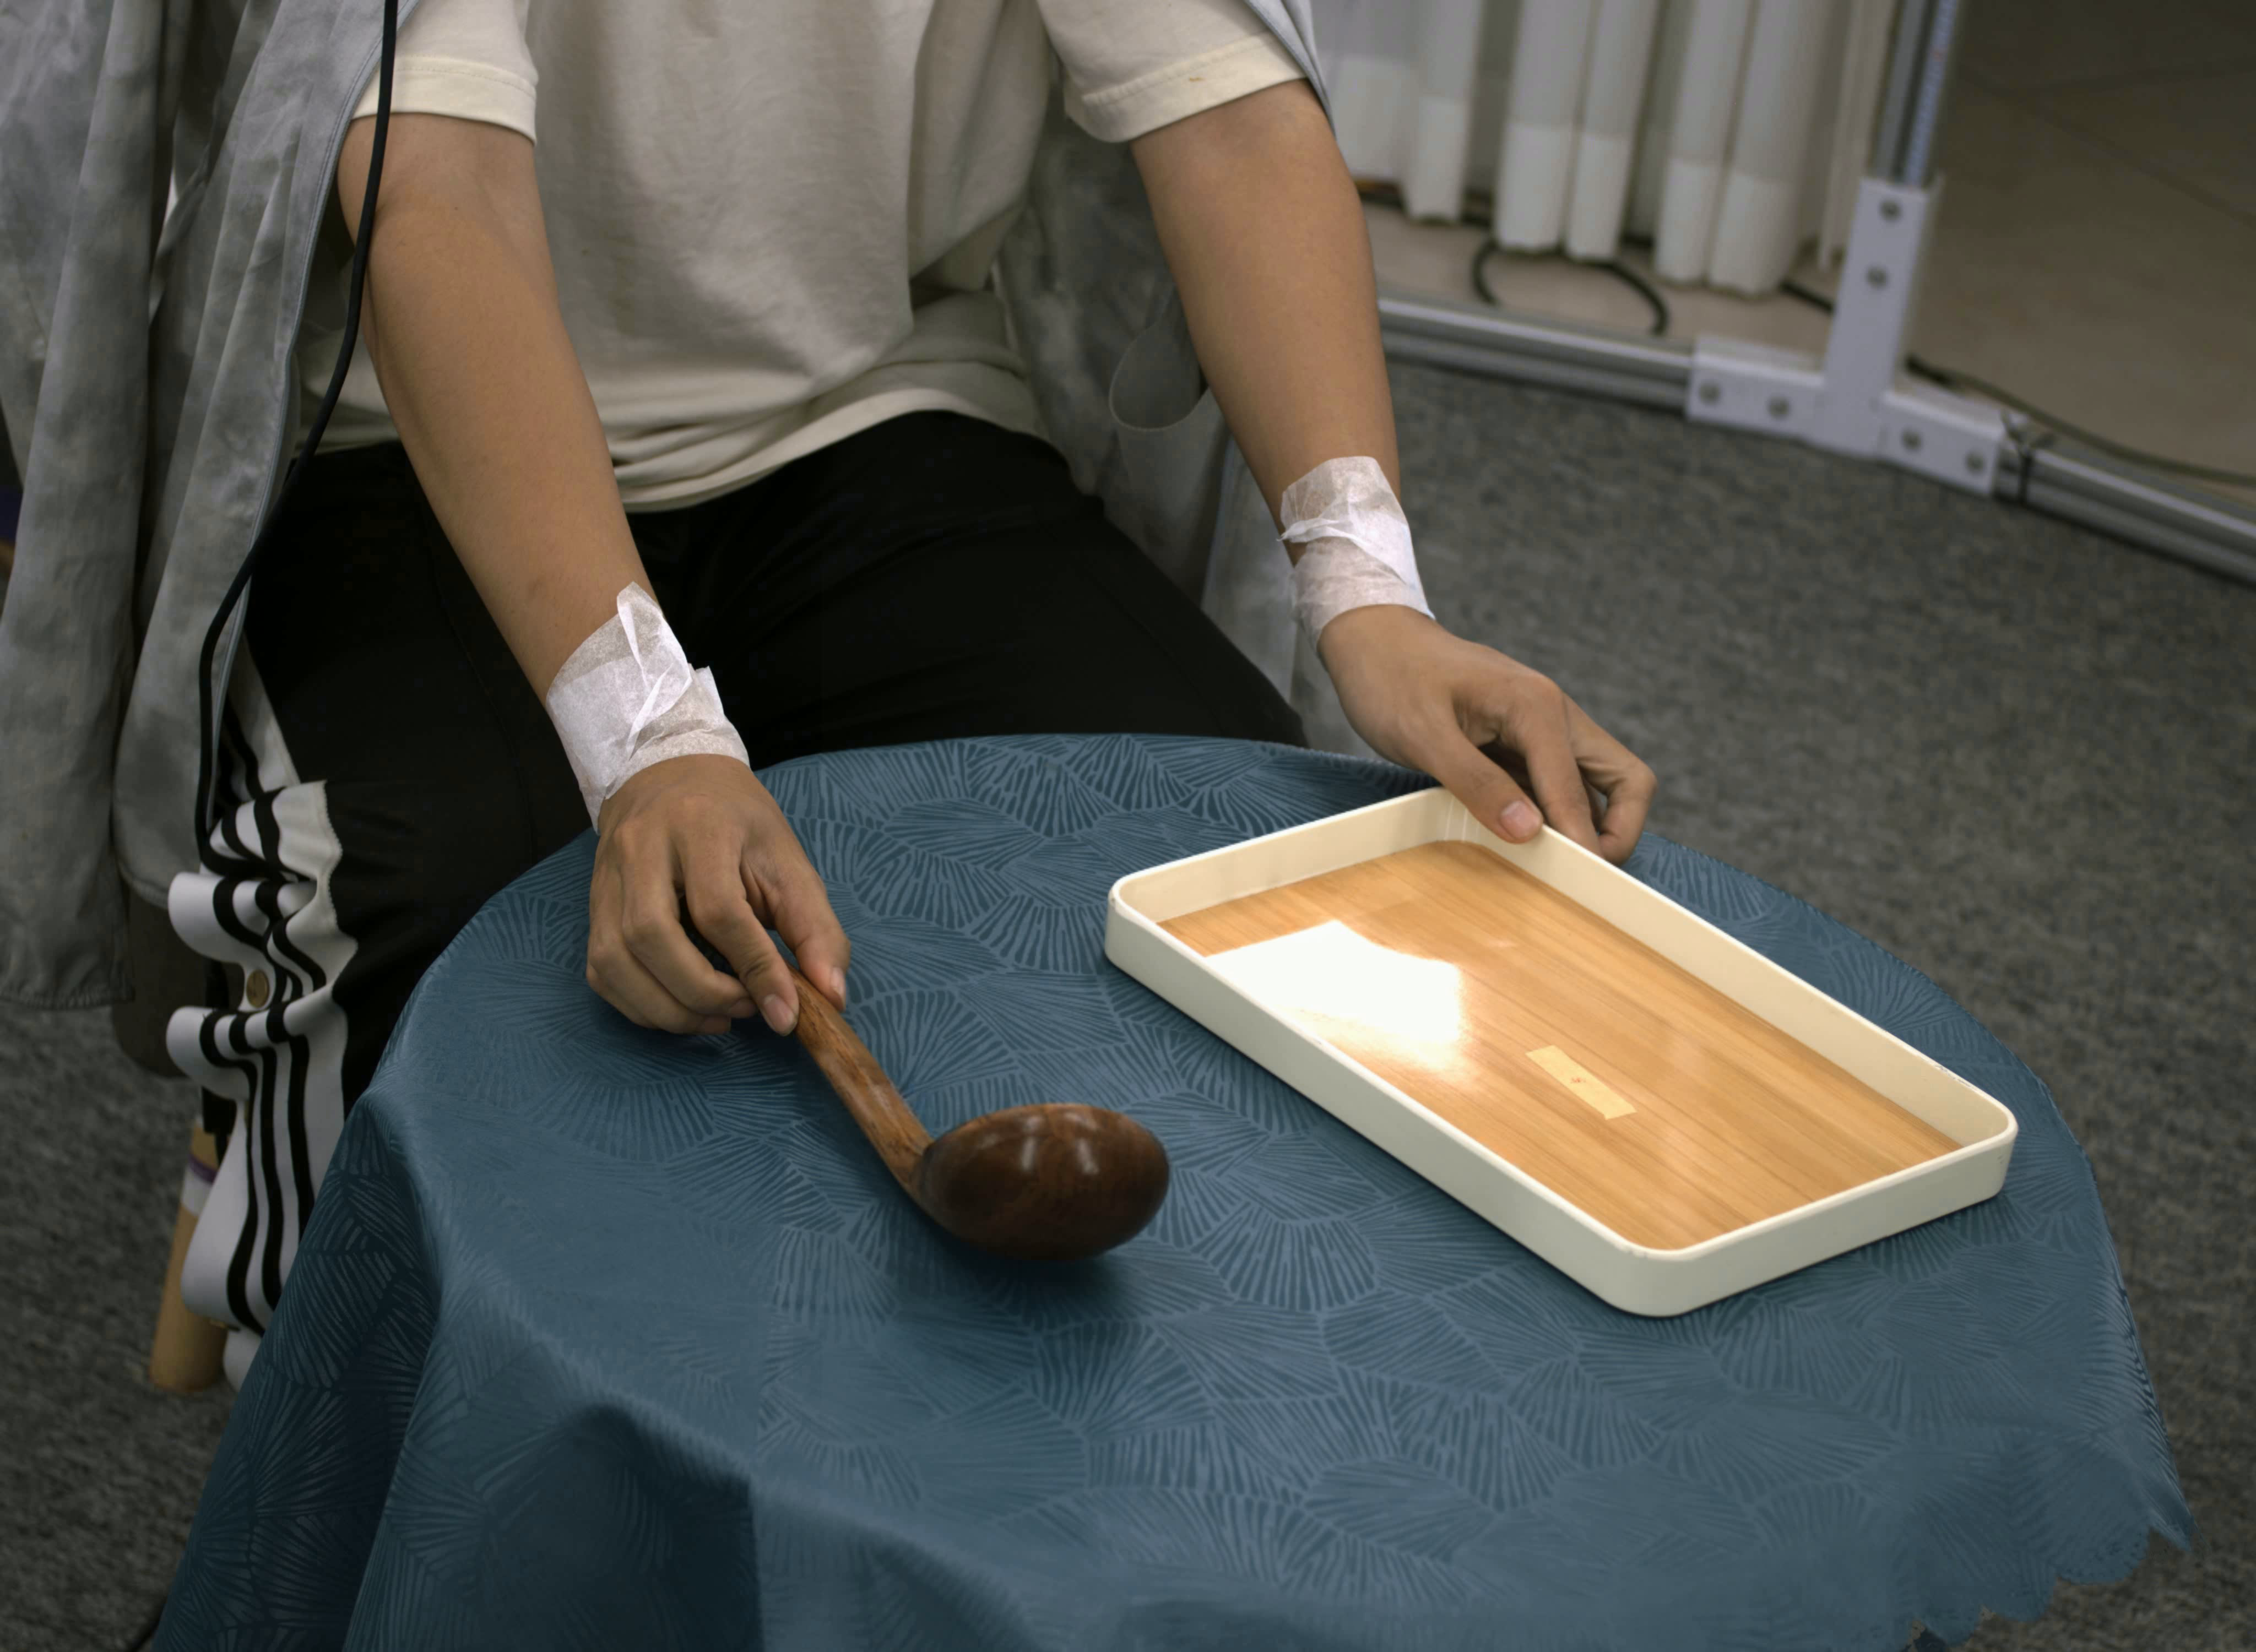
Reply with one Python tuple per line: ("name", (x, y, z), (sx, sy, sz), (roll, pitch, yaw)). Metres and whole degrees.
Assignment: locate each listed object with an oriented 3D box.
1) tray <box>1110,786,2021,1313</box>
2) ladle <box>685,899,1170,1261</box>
("tray", (0.152, 0.074, 1.906), (0.190, 0.027, 0.303), (-15, 34, -36))
("ladle", (-0.075, 0.067, 1.816), (0.081, 0.076, 0.276), (35, 7, -38))
